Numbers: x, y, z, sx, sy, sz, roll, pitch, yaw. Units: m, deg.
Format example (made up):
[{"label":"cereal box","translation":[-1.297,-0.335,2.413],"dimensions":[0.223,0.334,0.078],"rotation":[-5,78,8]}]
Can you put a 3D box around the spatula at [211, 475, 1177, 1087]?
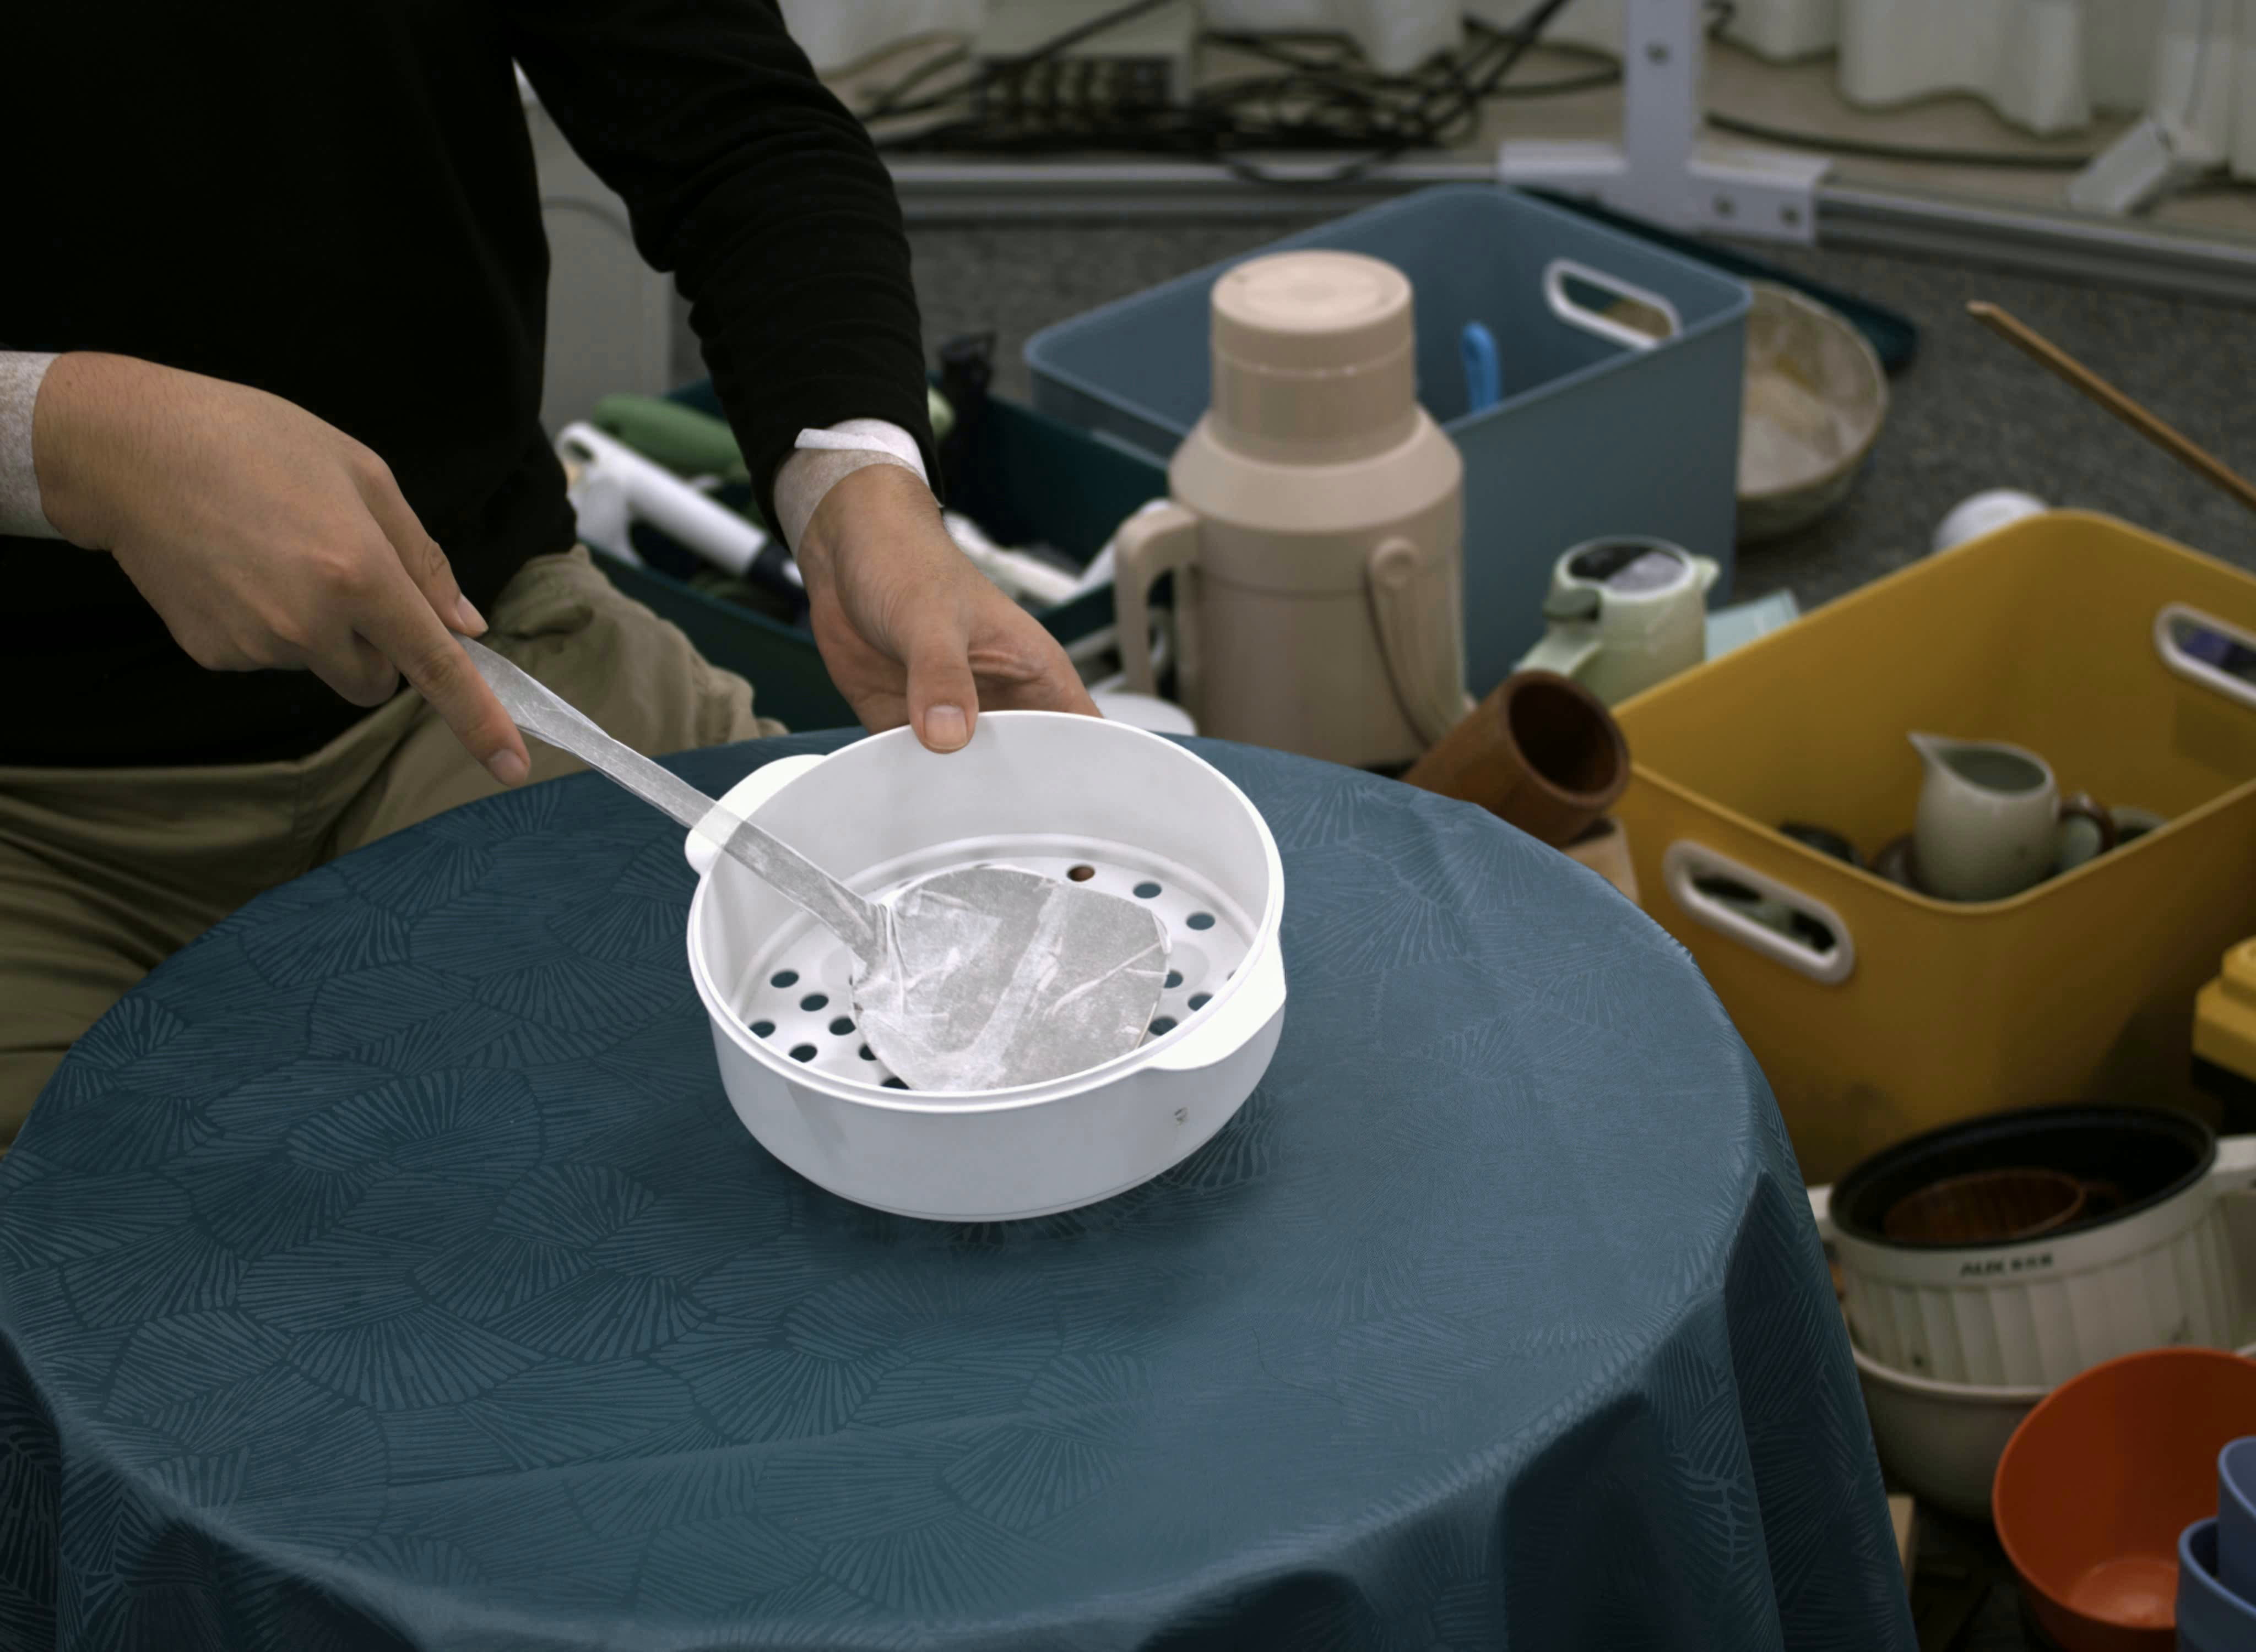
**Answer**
[{"label":"spatula","translation":[-0.153,-0.017,1.874],"dimensions":[0.364,0.044,0.100],"rotation":[32,66,-5]}]

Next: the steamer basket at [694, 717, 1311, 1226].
[{"label":"steamer basket","translation":[-0.042,0.049,1.881],"dimensions":[0.230,0.068,0.205],"rotation":[22,45,31]}]
